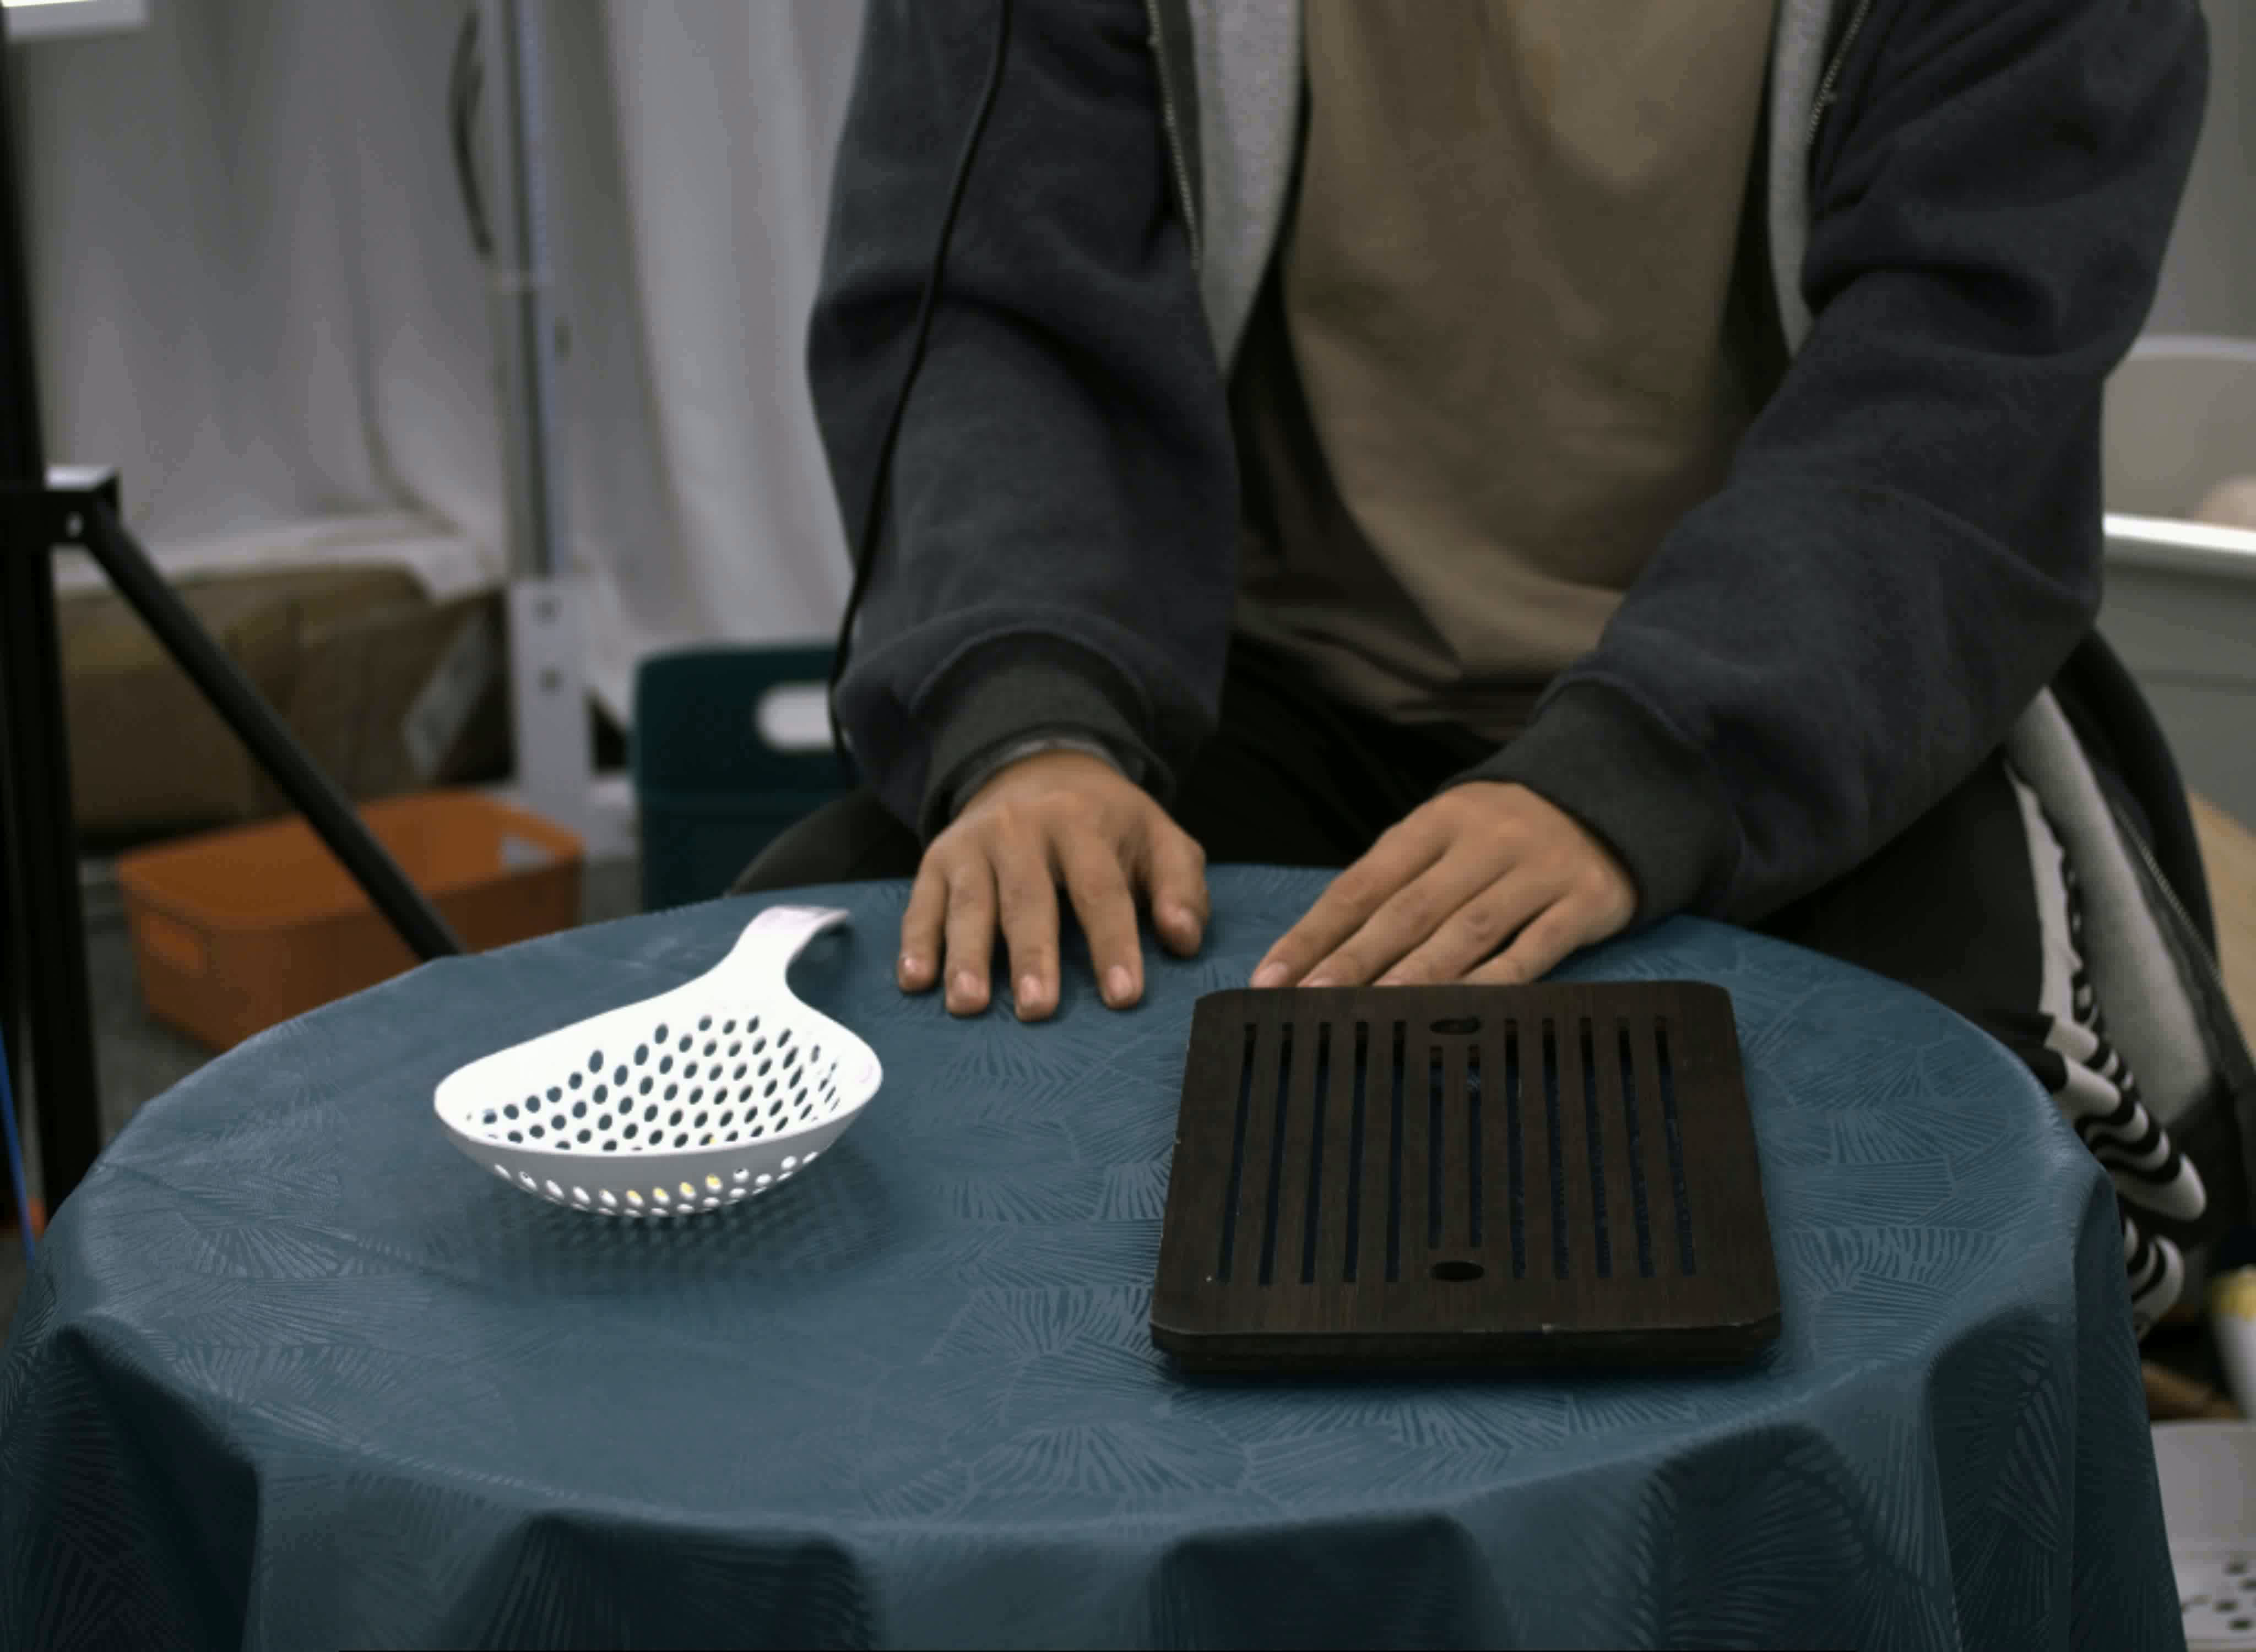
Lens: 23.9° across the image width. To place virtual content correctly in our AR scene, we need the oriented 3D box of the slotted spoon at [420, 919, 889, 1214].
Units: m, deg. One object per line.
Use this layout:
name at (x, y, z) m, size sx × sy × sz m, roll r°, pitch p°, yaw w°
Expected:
slotted spoon at (-0.124, 0.061, 1.670) m, size 0.137 × 0.050 × 0.347 m, roll -3°, pitch 16°, yaw 8°

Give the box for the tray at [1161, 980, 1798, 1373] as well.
tray at (0.101, 0.100, 1.541) m, size 0.170 × 0.018 × 0.306 m, roll -1°, pitch 16°, yaw 4°
